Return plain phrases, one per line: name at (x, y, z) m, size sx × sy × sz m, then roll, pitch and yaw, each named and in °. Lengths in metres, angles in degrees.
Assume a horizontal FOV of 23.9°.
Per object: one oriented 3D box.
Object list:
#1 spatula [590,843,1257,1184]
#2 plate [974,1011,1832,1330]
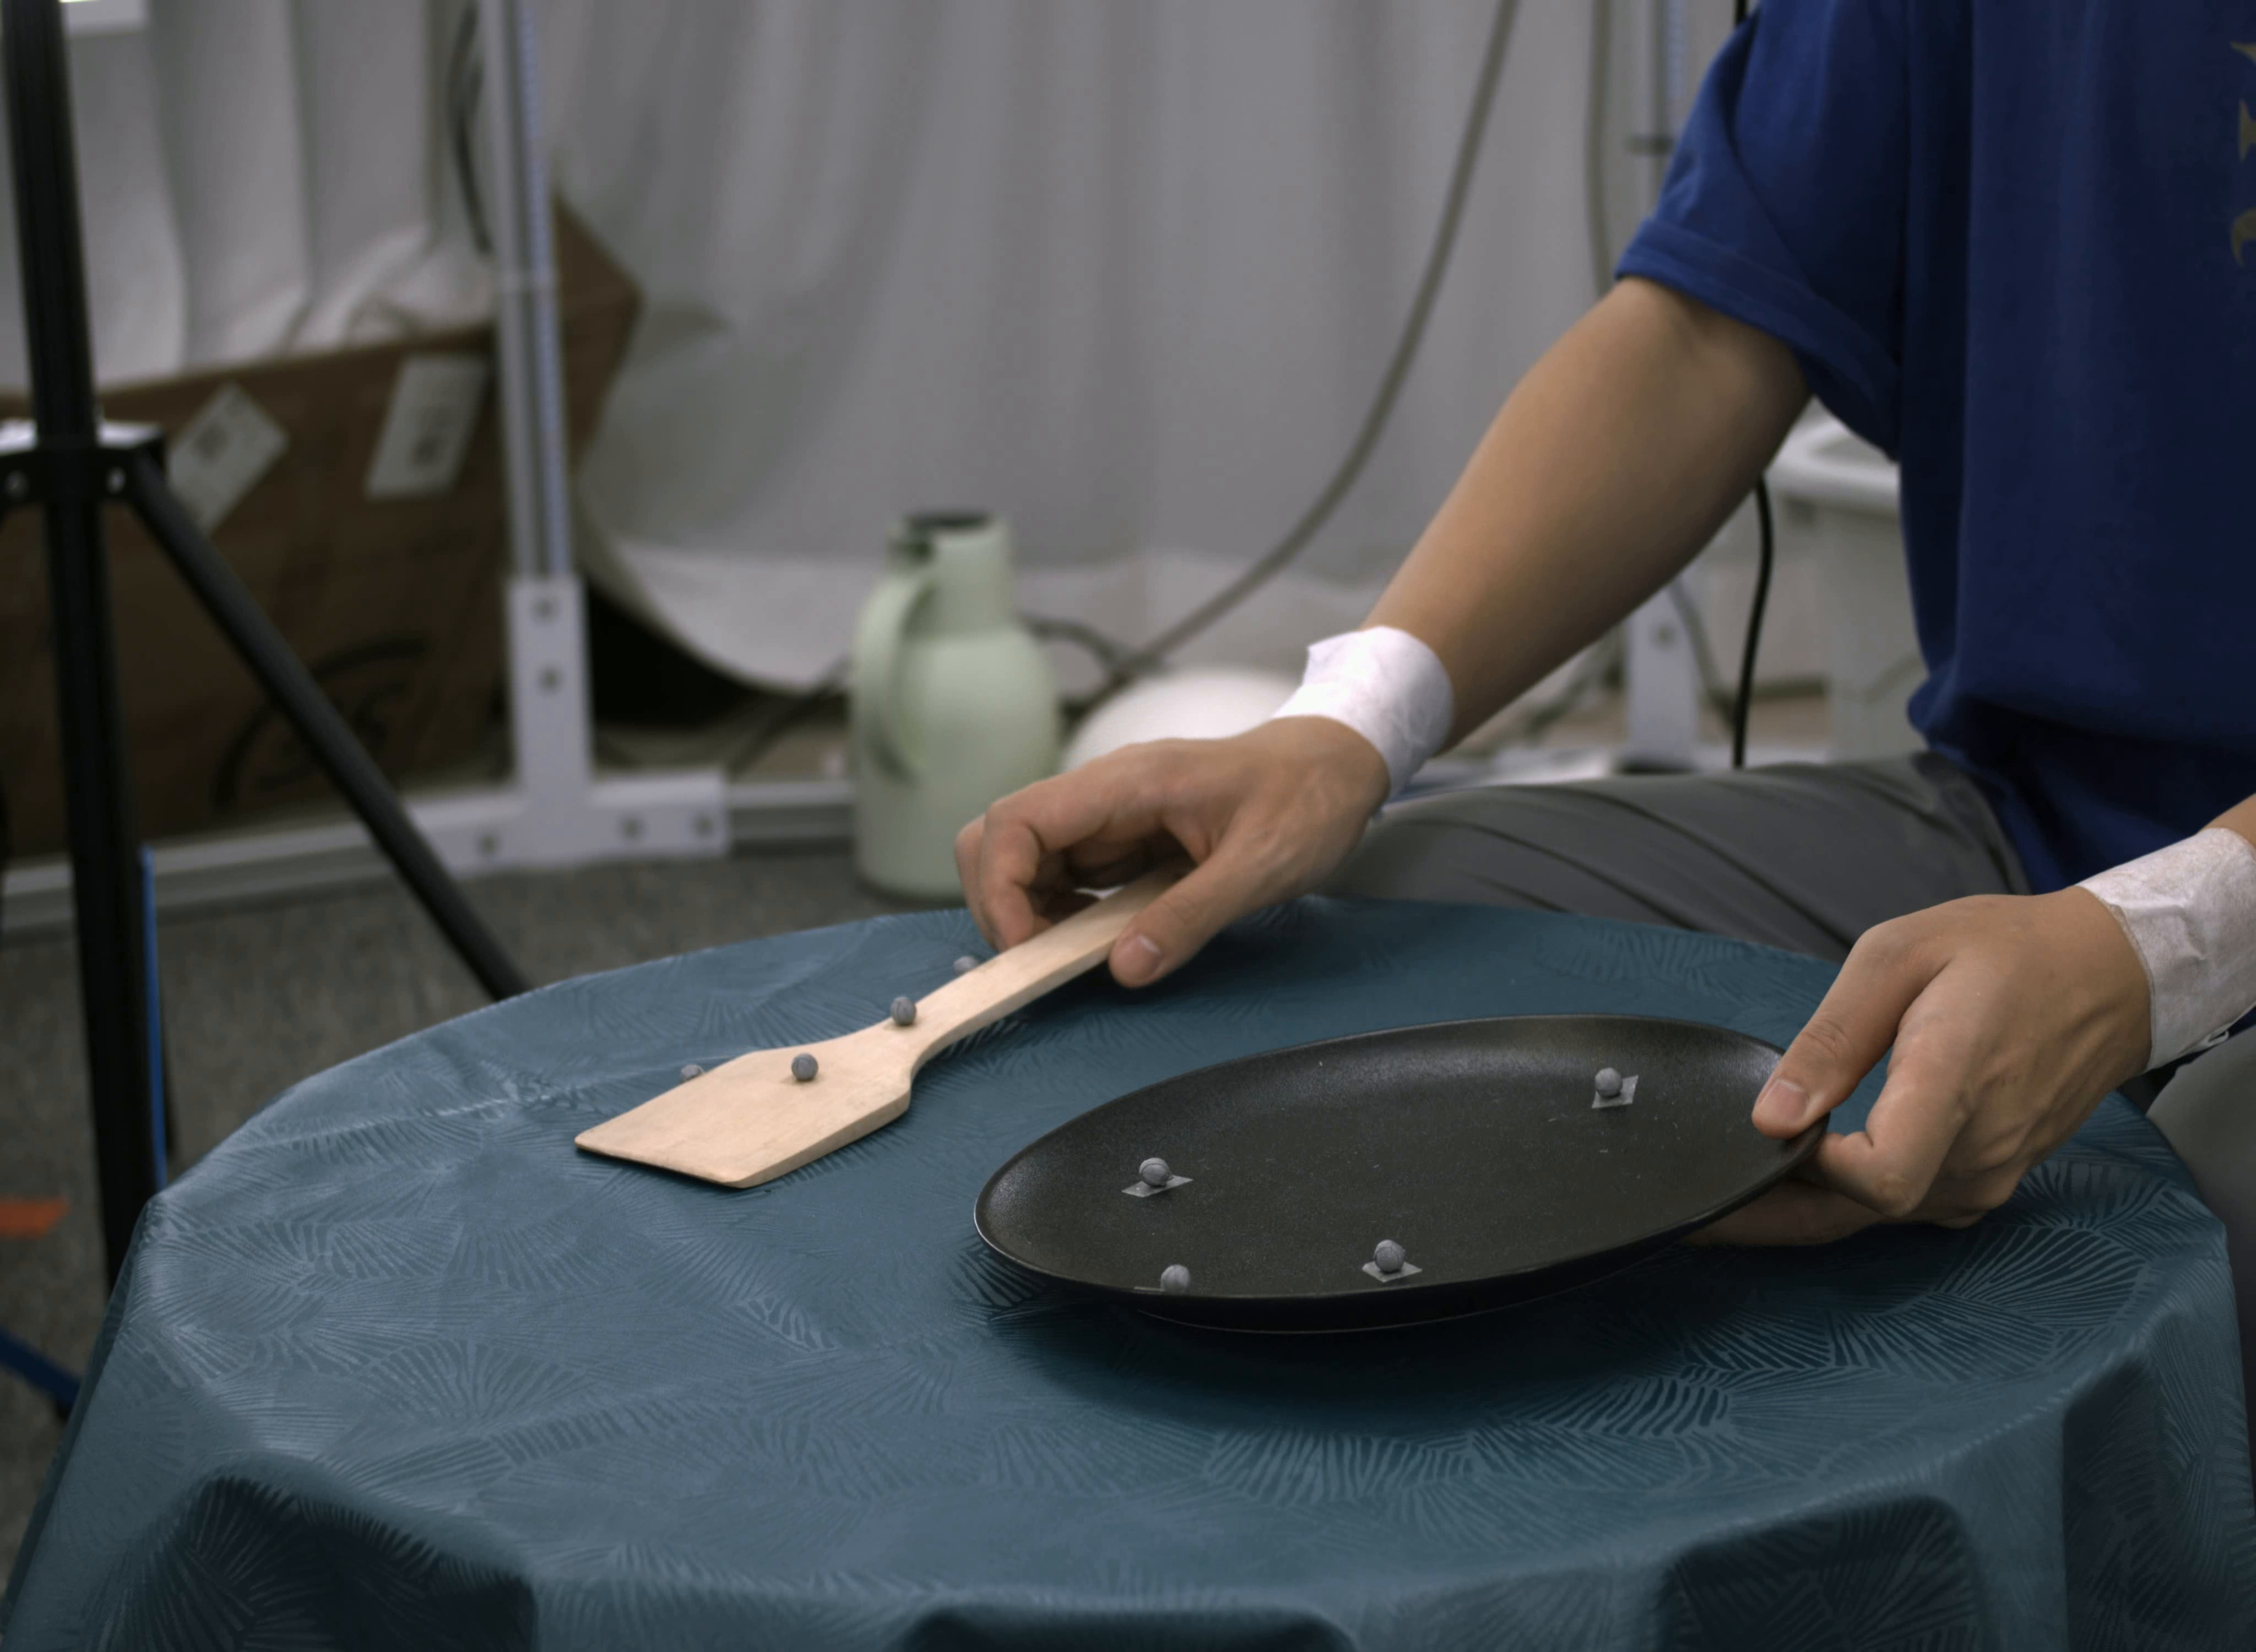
spatula at (-0.052, 0.056, 1.700) m, size 0.074 × 0.010 × 0.287 m, roll 9°, pitch 25°, yaw 38°
plate at (0.078, 0.100, 1.491) m, size 0.243 × 0.023 × 0.245 m, roll -10°, pitch 13°, yaw 1°
